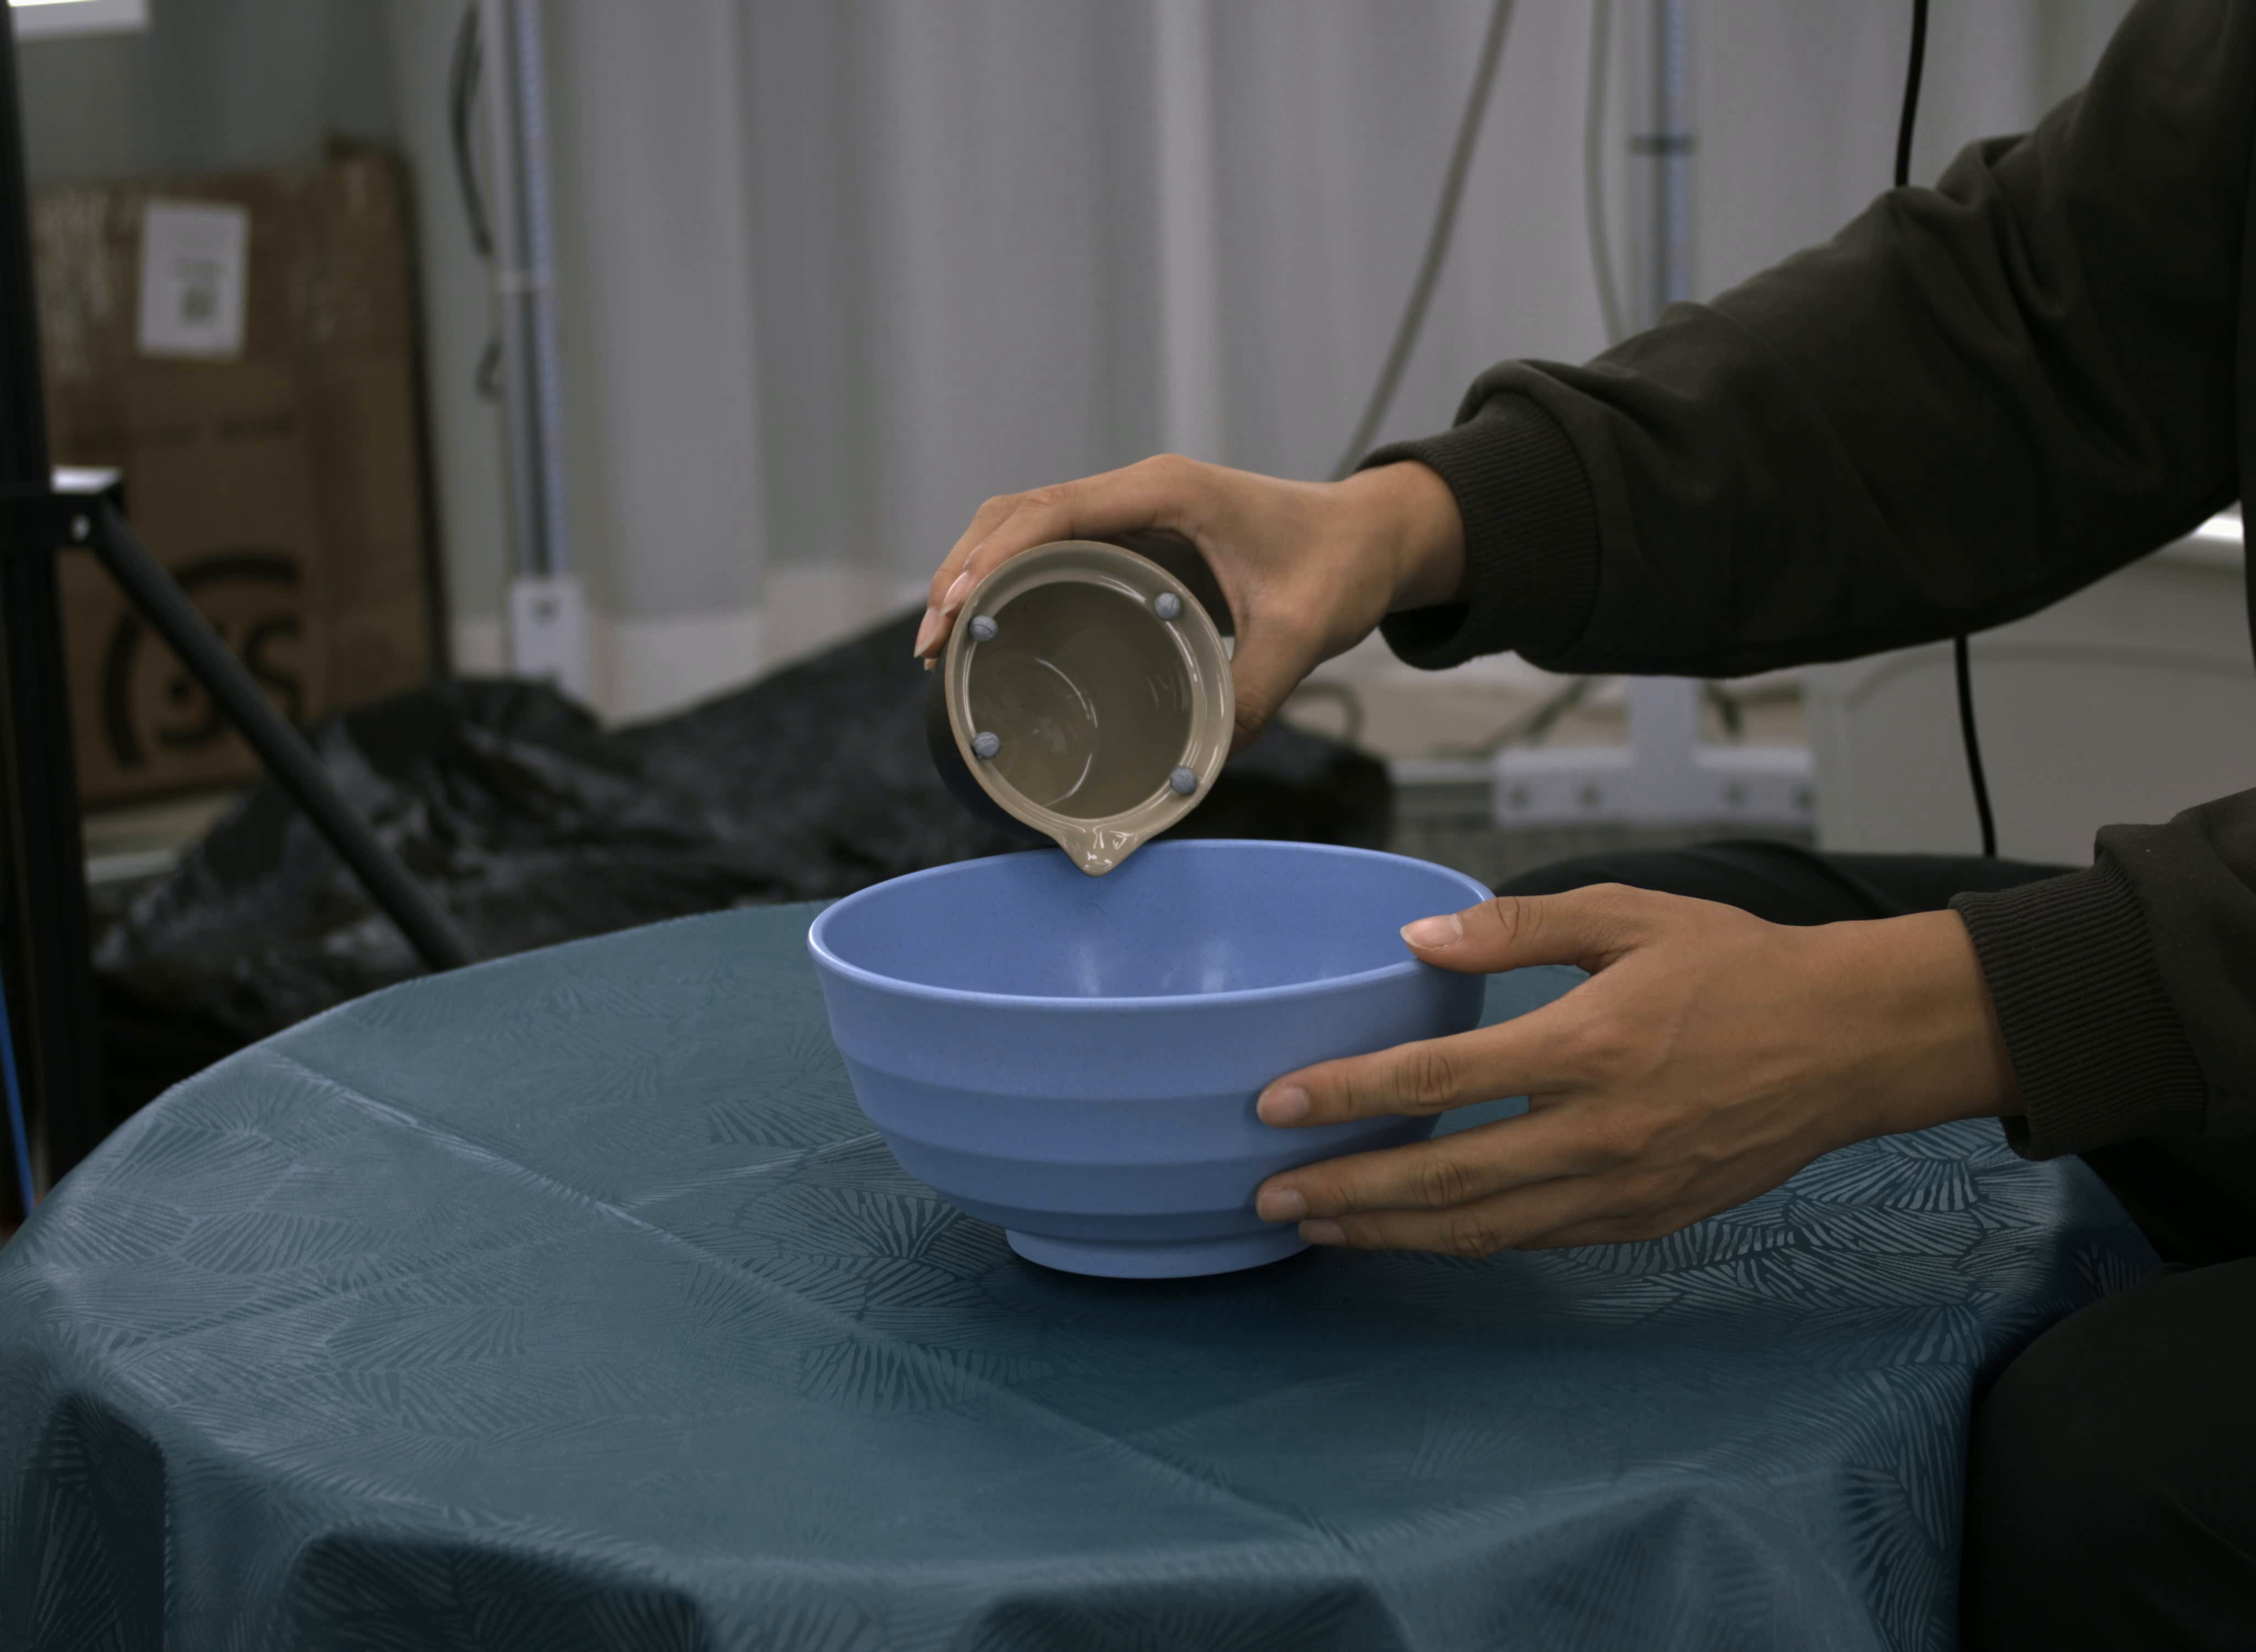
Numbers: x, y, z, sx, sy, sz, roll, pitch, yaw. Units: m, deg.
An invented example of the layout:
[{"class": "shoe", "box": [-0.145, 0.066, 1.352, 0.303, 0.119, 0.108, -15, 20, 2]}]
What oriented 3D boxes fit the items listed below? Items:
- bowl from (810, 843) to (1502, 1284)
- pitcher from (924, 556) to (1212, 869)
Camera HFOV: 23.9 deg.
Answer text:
[{"class": "bowl", "box": [0.009, 0.072, 1.510, 0.195, 0.095, 0.197, -1, 12, -1]}, {"class": "pitcher", "box": [-0.023, -0.029, 1.621, 0.082, 0.097, 0.072, 0, -11, -20]}]
